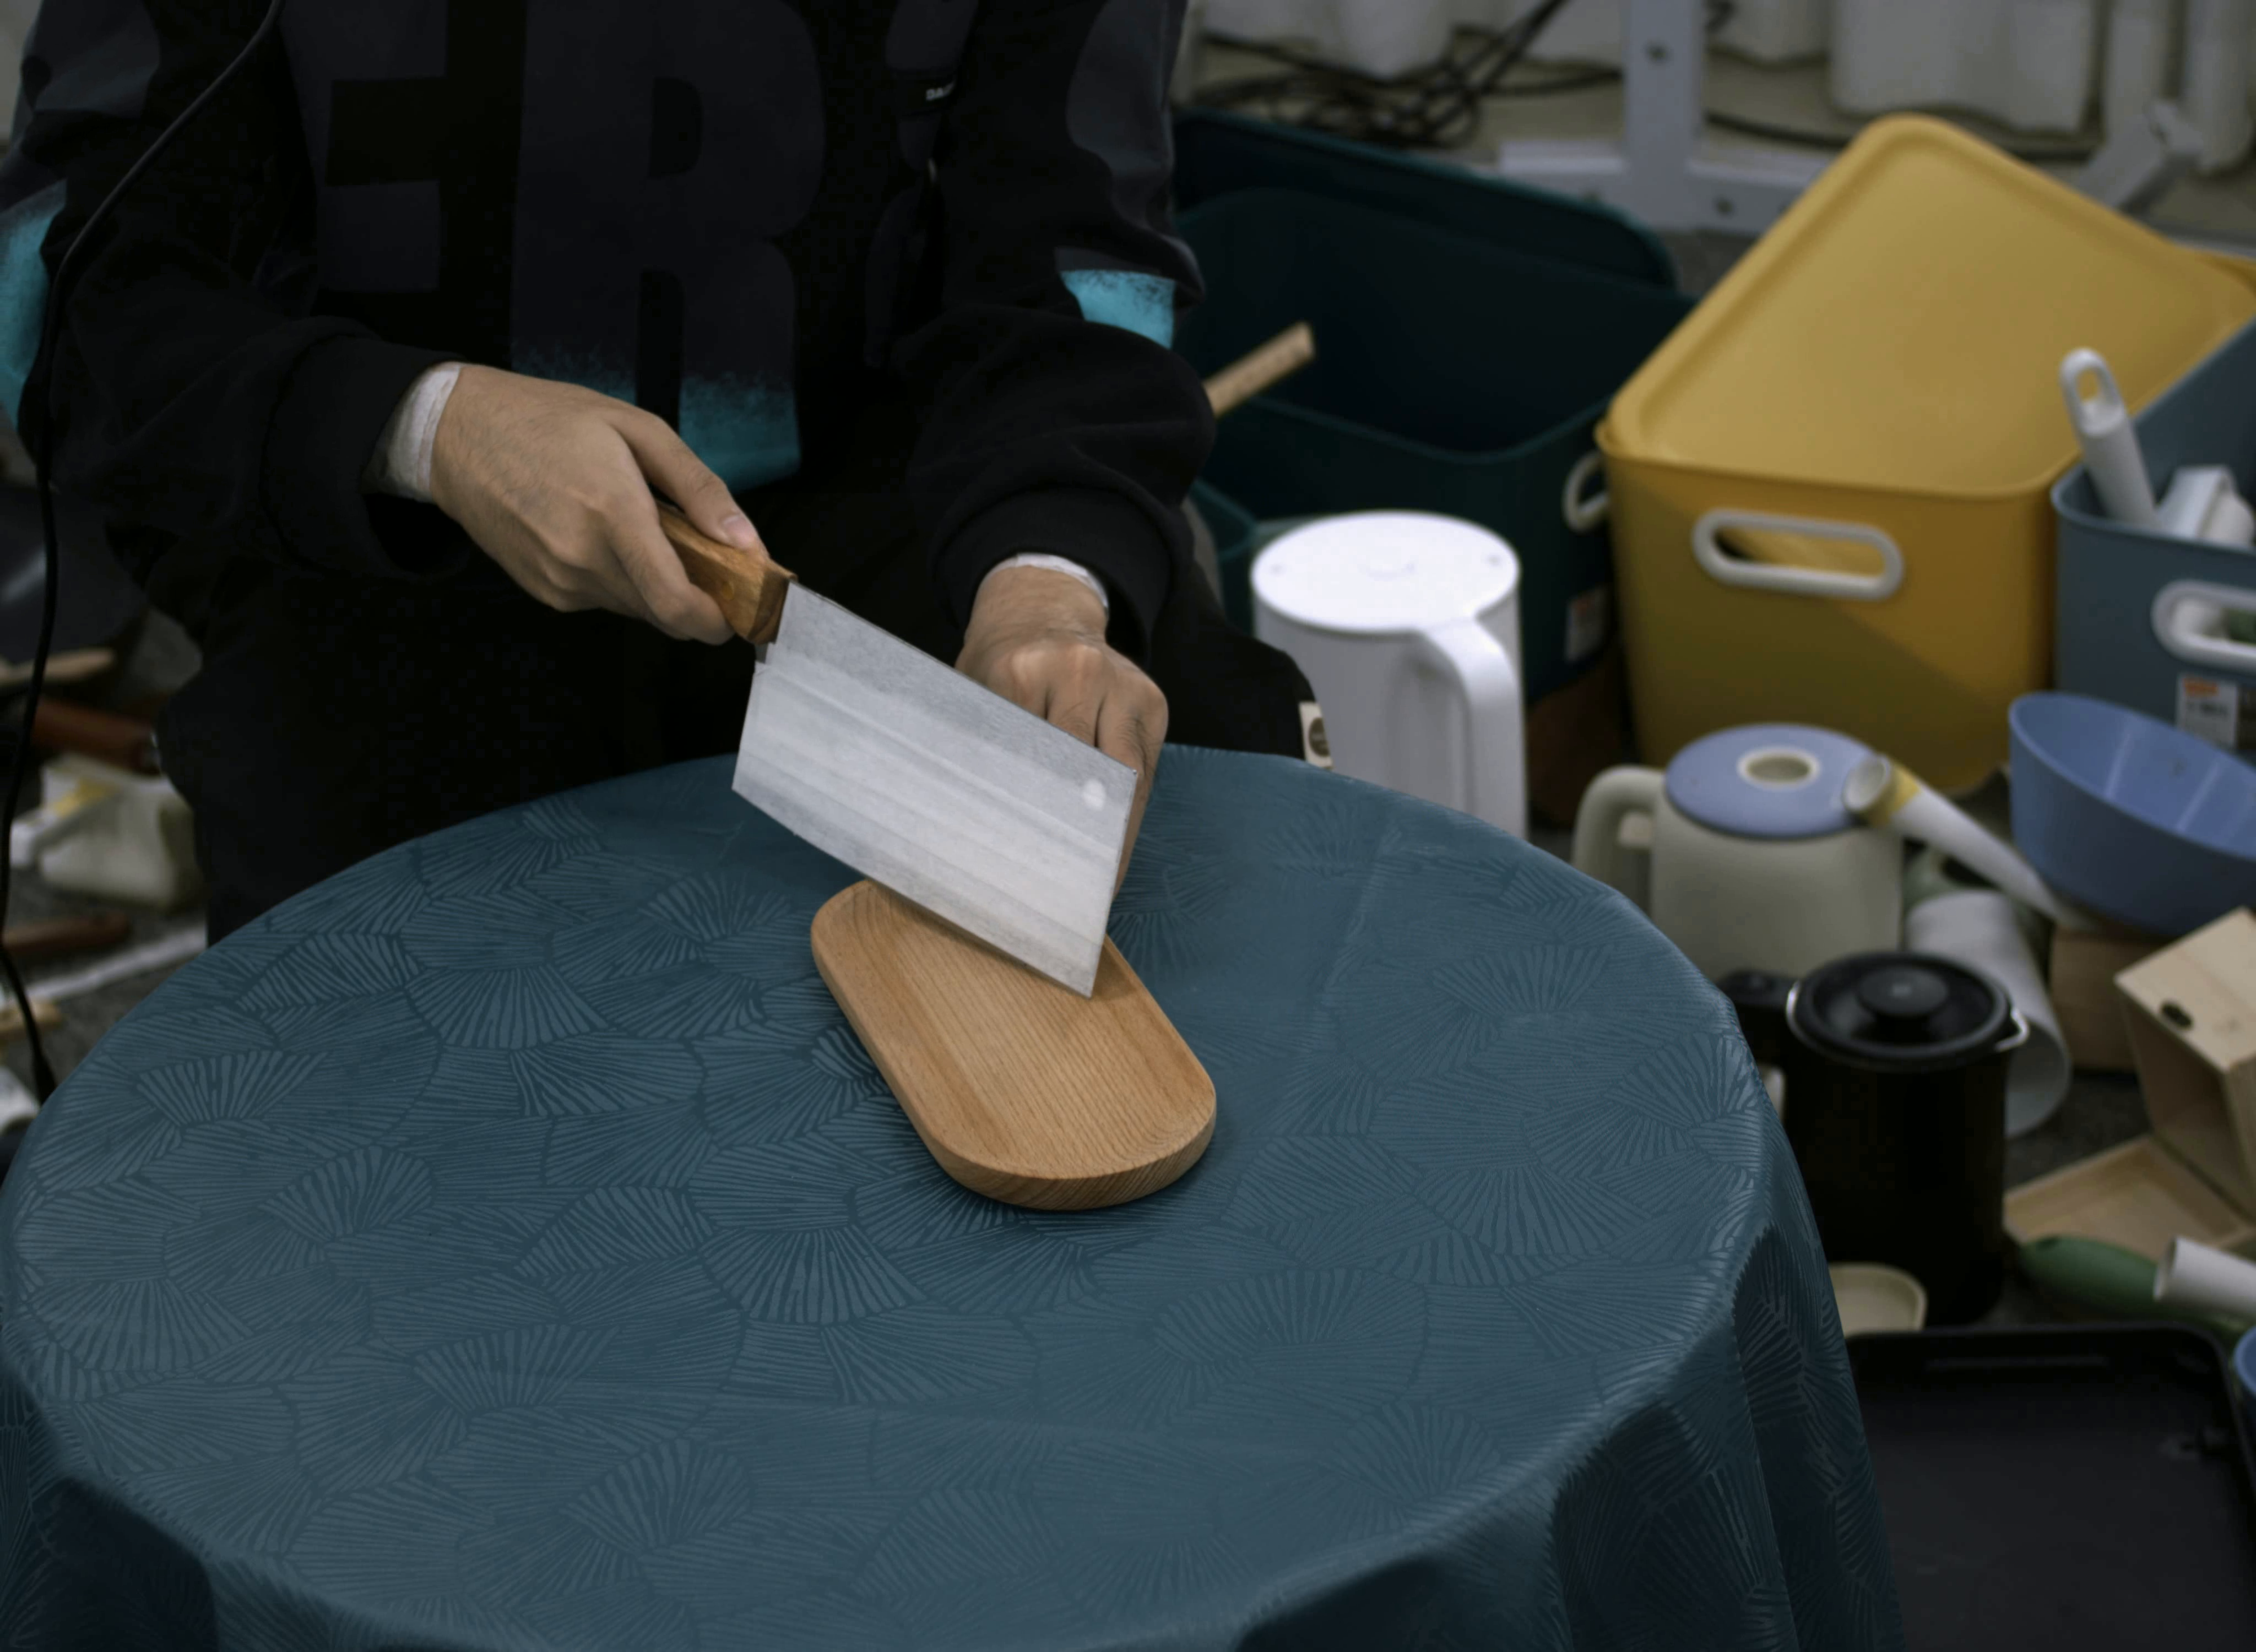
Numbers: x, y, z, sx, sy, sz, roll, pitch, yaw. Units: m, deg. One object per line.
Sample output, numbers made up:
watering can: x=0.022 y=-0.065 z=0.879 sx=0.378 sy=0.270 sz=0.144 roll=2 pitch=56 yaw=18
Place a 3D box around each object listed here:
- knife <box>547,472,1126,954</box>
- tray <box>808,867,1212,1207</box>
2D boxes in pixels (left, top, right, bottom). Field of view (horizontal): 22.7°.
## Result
knife: x=-0.111 y=-0.039 z=2.036 sx=0.306 sy=0.092 sz=0.021 roll=29 pitch=28 yaw=37
tray: x=-0.043 y=0.069 z=1.948 sx=0.102 sy=0.020 sz=0.233 roll=-9 pitch=27 yaw=-16
